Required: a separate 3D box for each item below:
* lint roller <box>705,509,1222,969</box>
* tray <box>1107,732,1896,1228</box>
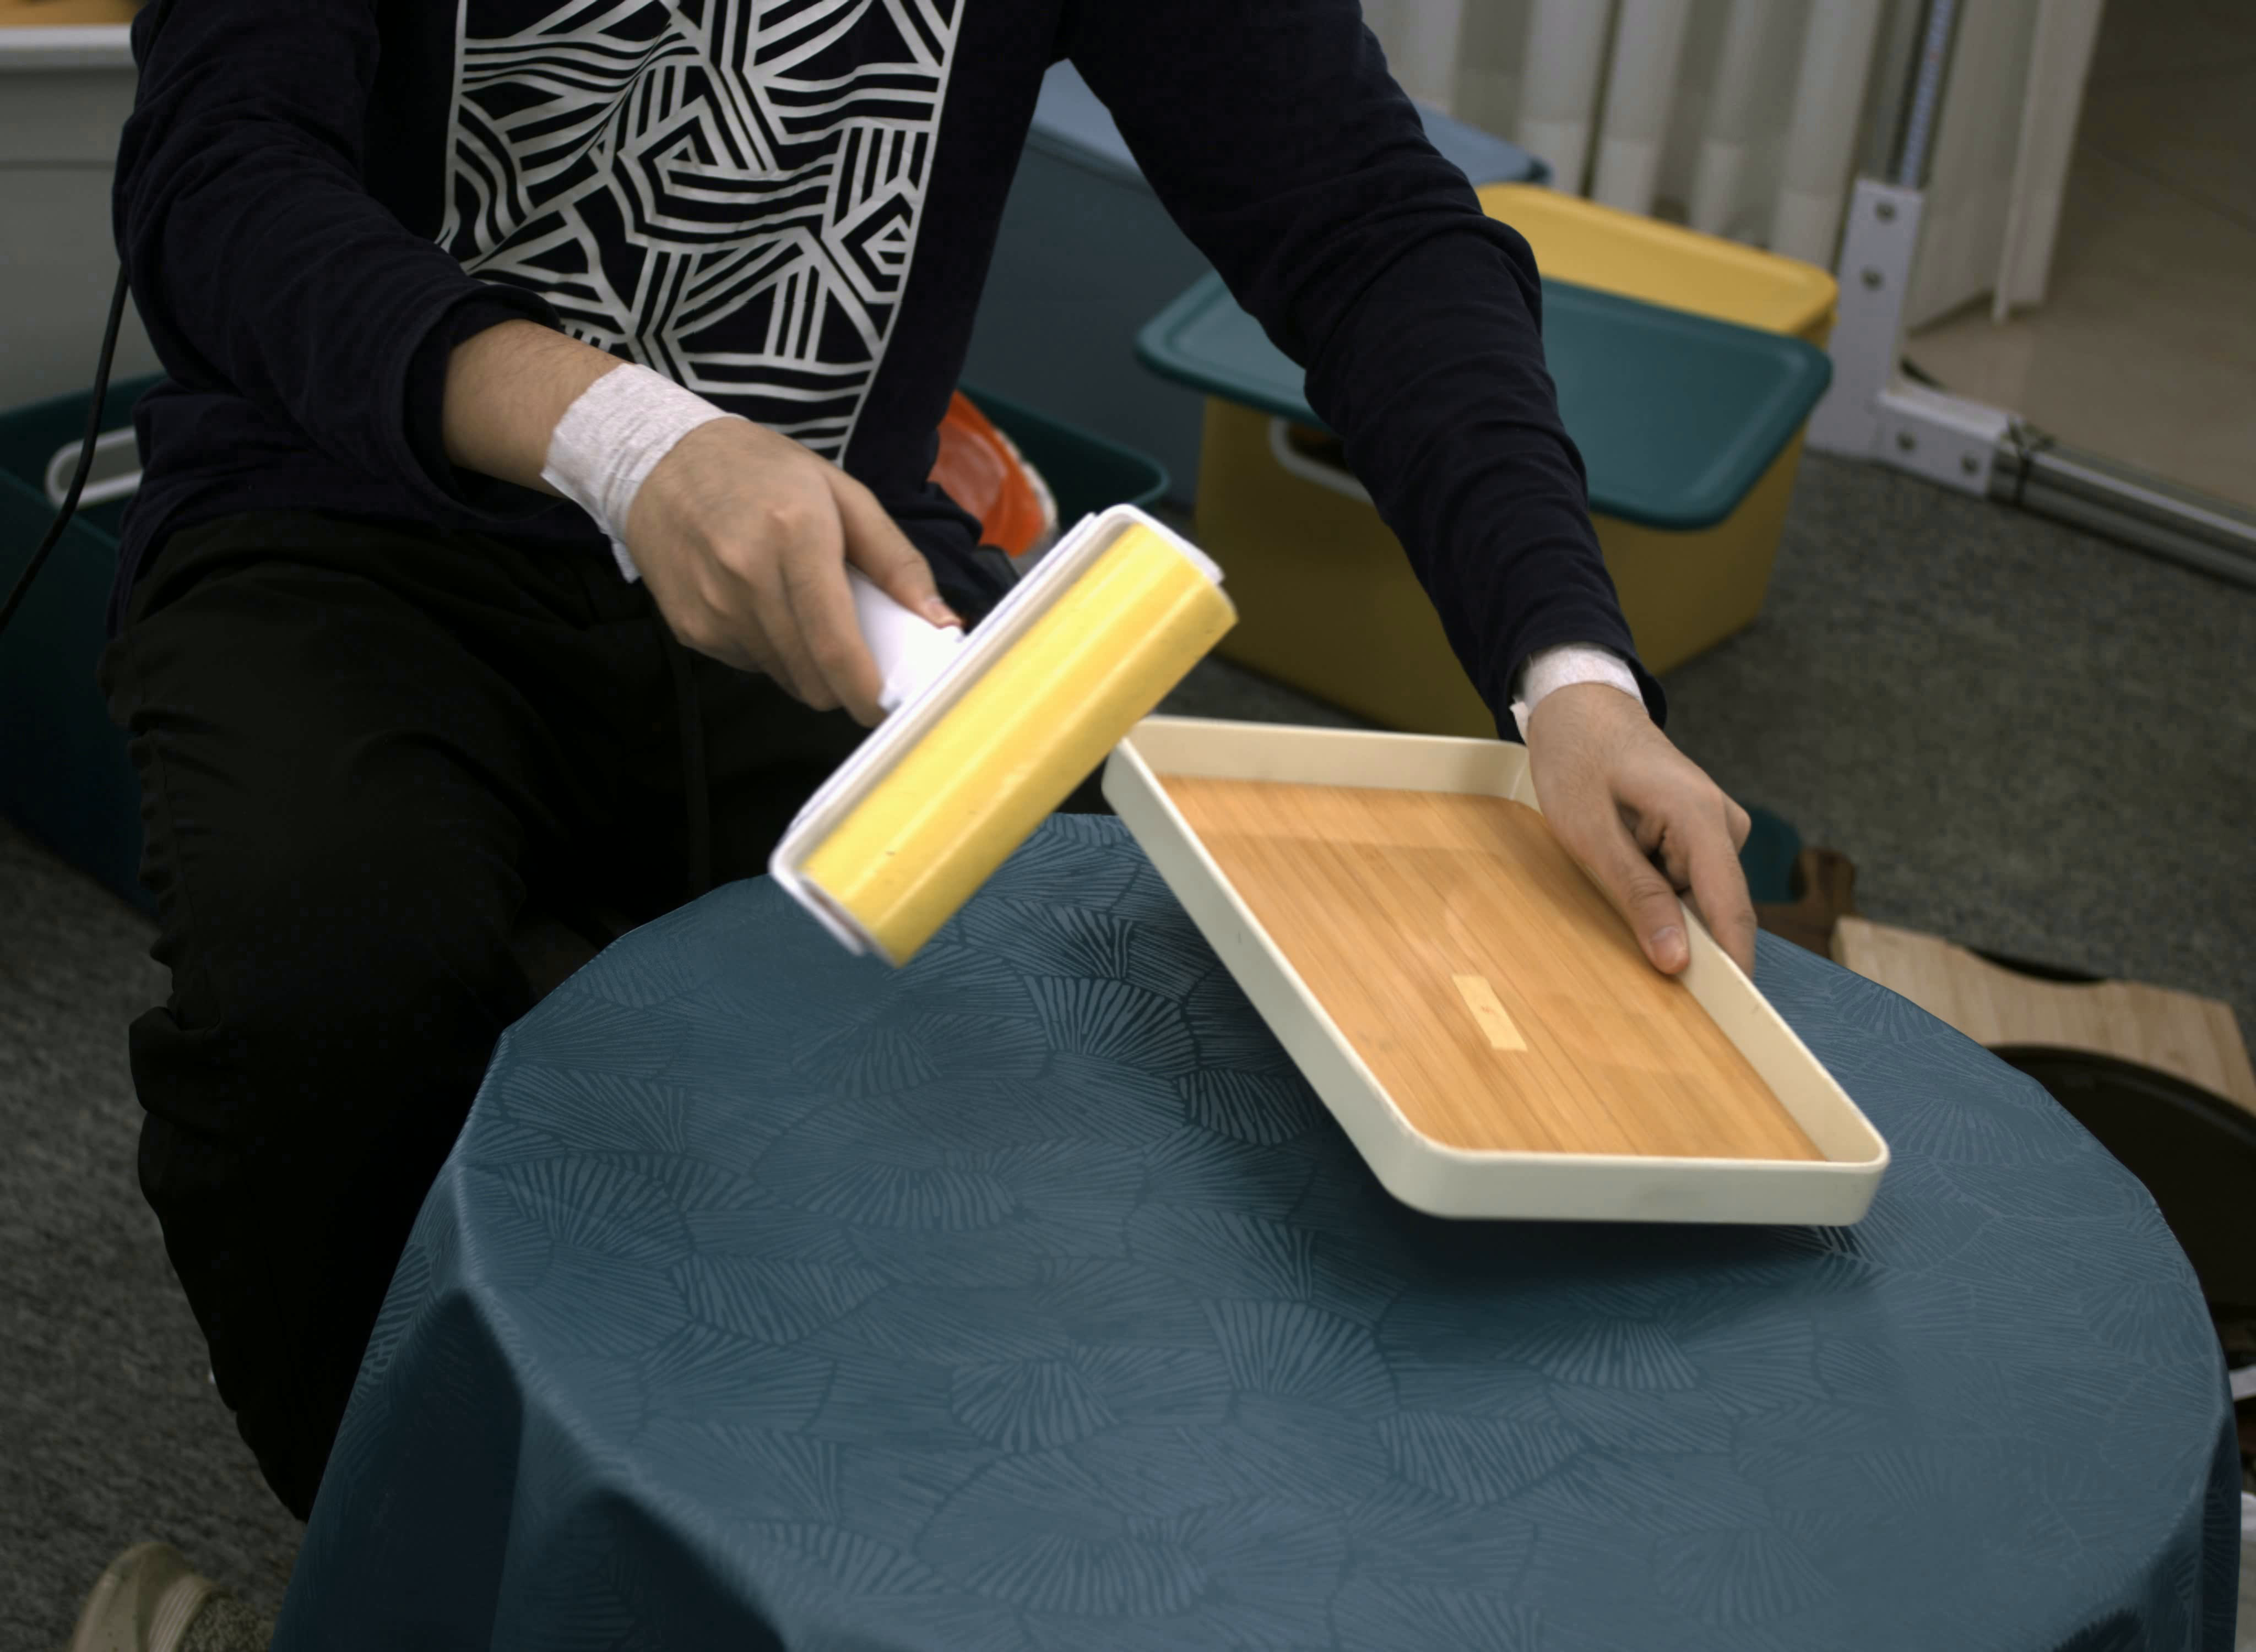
[{"bbox_3d":[-0.086,-0.061,1.777,0.174,0.051,0.193,-46,54,-8],"label":"lint roller"},{"bbox_3d":[0.127,0.052,1.890,0.190,0.027,0.303,2,28,-25],"label":"tray"}]
